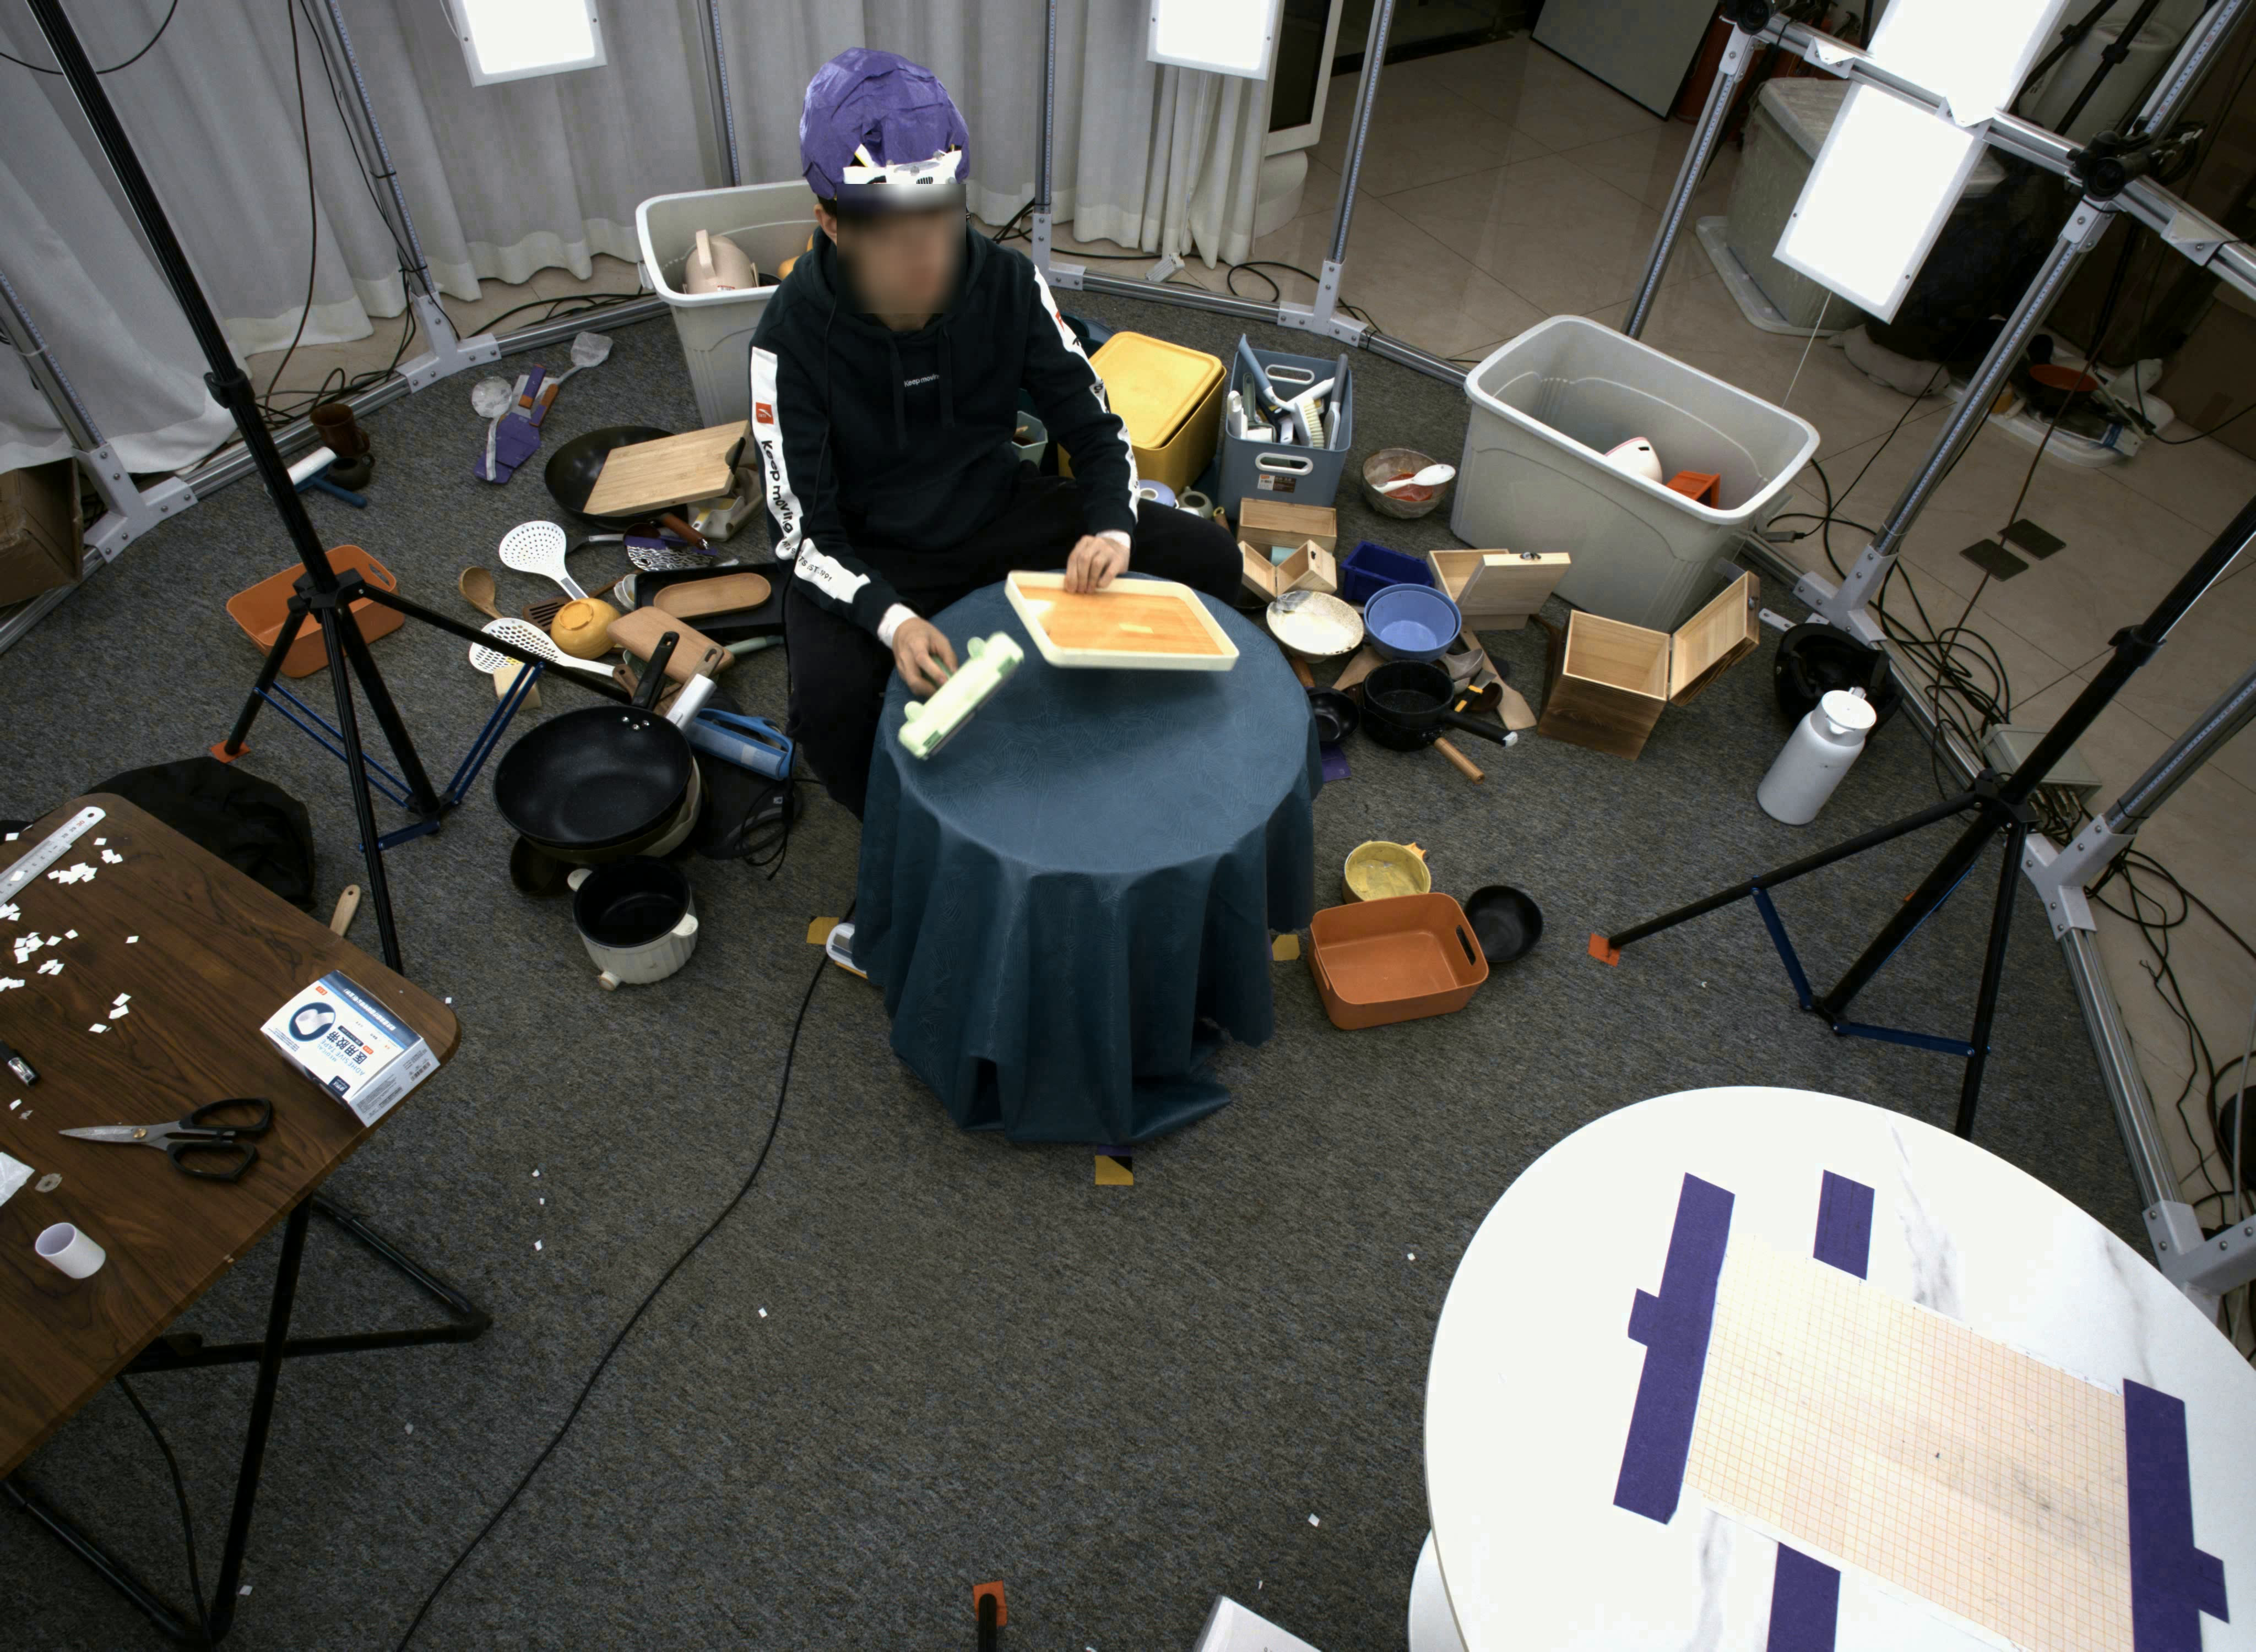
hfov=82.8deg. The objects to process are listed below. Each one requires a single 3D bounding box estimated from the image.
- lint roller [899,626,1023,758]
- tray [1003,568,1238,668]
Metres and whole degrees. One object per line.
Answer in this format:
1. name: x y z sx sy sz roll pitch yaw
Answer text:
1. lint roller: -0.253 -0.207 1.716 0.199 0.080 0.187 -47 51 -2
2. tray: -0.009 -0.289 1.791 0.299 0.027 0.196 -1 40 -30
